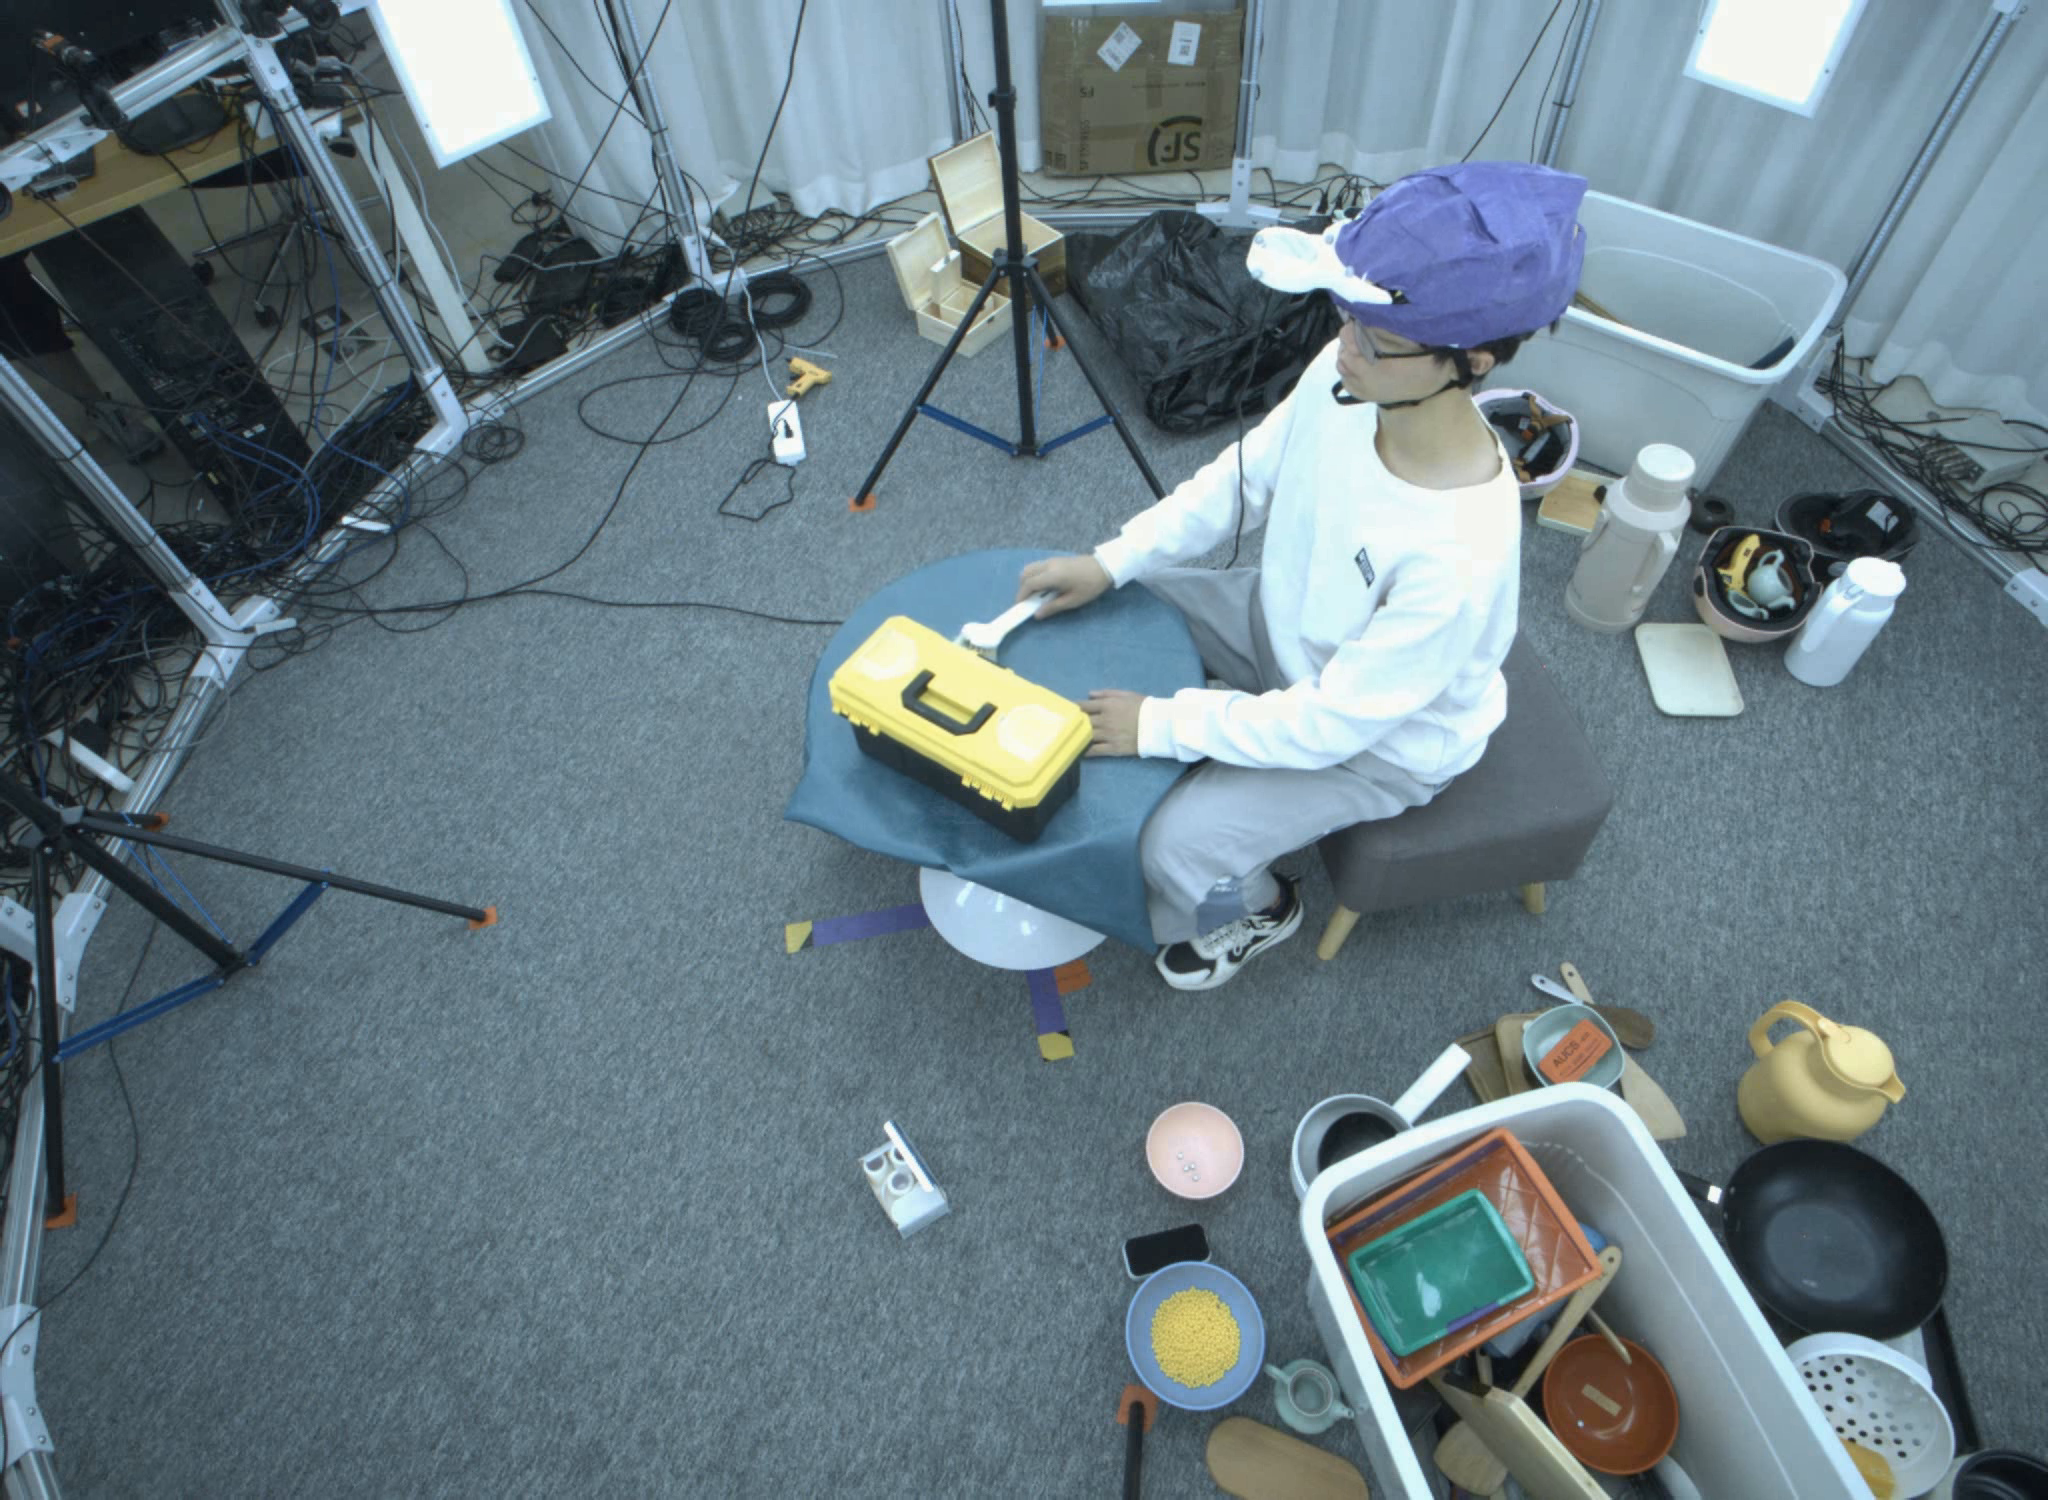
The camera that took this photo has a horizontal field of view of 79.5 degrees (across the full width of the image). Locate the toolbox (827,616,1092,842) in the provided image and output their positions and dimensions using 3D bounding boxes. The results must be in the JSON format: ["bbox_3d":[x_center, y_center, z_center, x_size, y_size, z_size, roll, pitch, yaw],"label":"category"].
[{"bbox_3d":[-0.087,-0.030,1.701,0.346,0.174,0.182,29,62,20],"label":"toolbox"}]

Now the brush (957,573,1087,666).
[{"bbox_3d":[0.001,-0.207,1.924,0.068,0.056,0.269,48,51,10],"label":"brush"}]
